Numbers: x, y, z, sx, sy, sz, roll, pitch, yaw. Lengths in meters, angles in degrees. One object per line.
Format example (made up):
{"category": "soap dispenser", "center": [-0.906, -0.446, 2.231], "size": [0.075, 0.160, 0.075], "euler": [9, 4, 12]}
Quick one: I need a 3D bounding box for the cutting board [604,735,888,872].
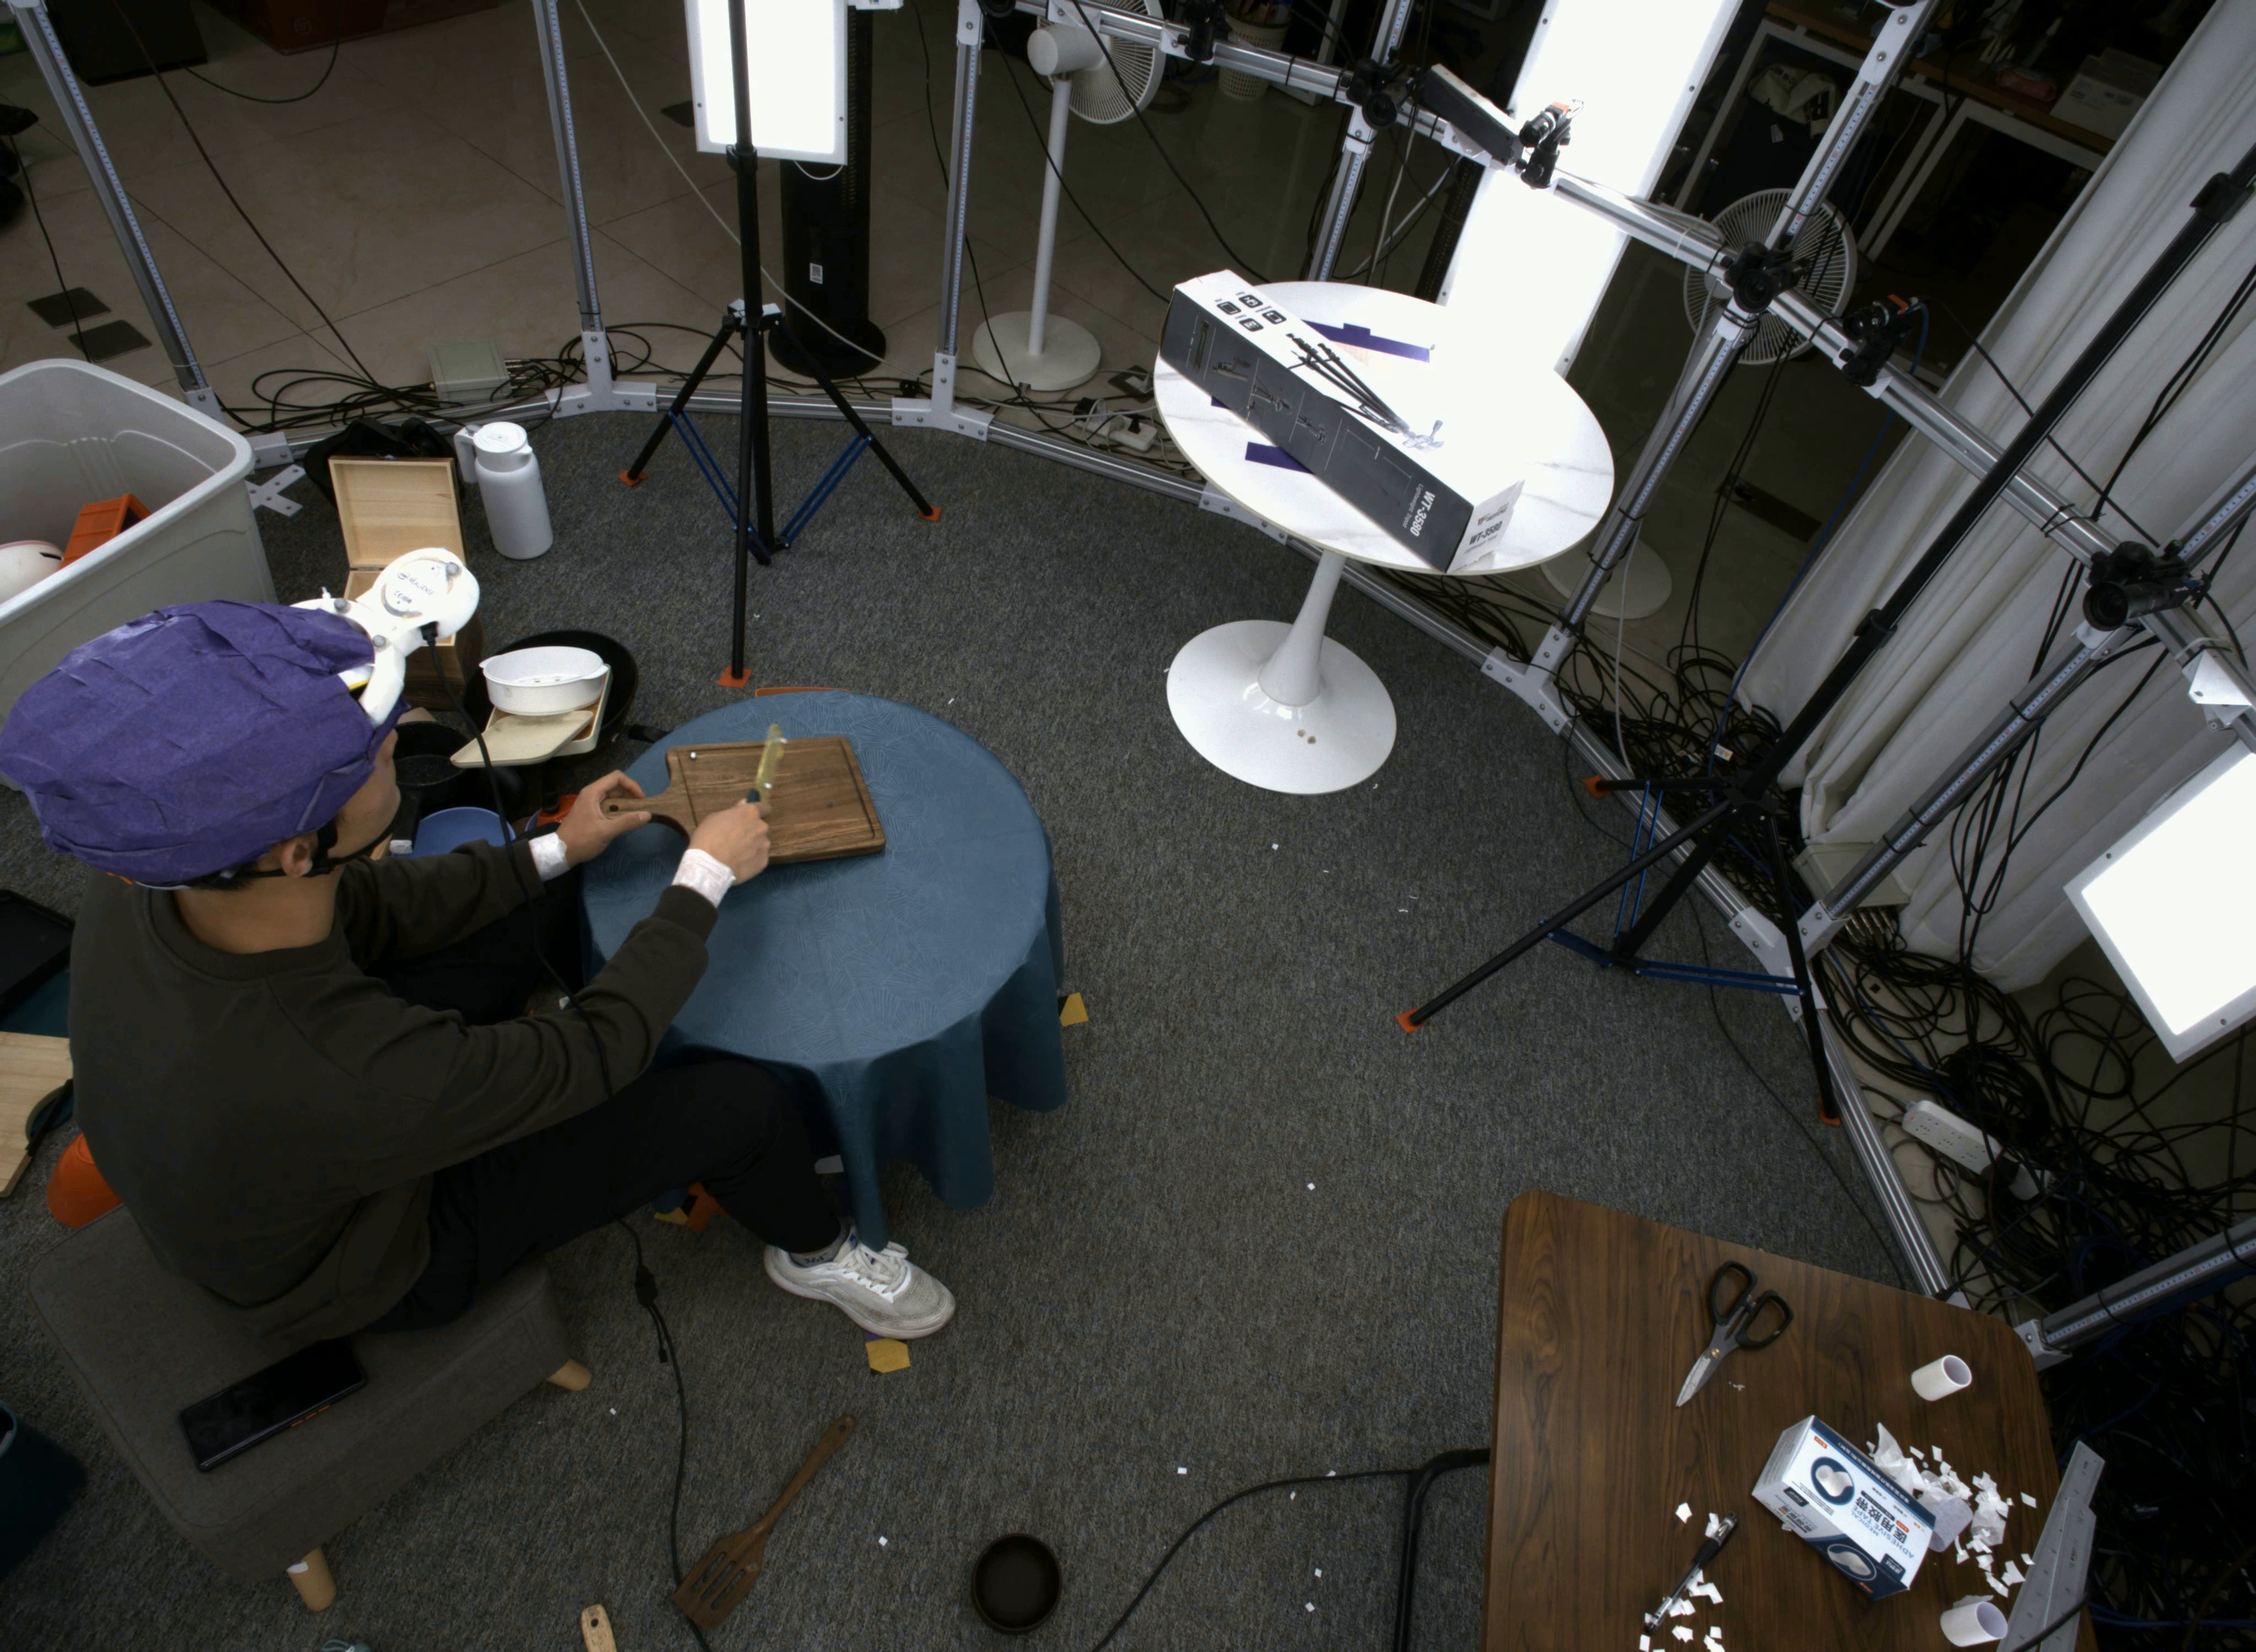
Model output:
{"category": "cutting board", "center": [-0.505, -0.032, 1.682], "size": [0.356, 0.023, 0.196], "euler": [-7, 55, -32]}

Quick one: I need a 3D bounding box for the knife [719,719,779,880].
{"category": "knife", "center": [-0.472, -0.034, 1.632], "size": [0.027, 0.083, 0.283], "euler": [4, 45, -2]}
